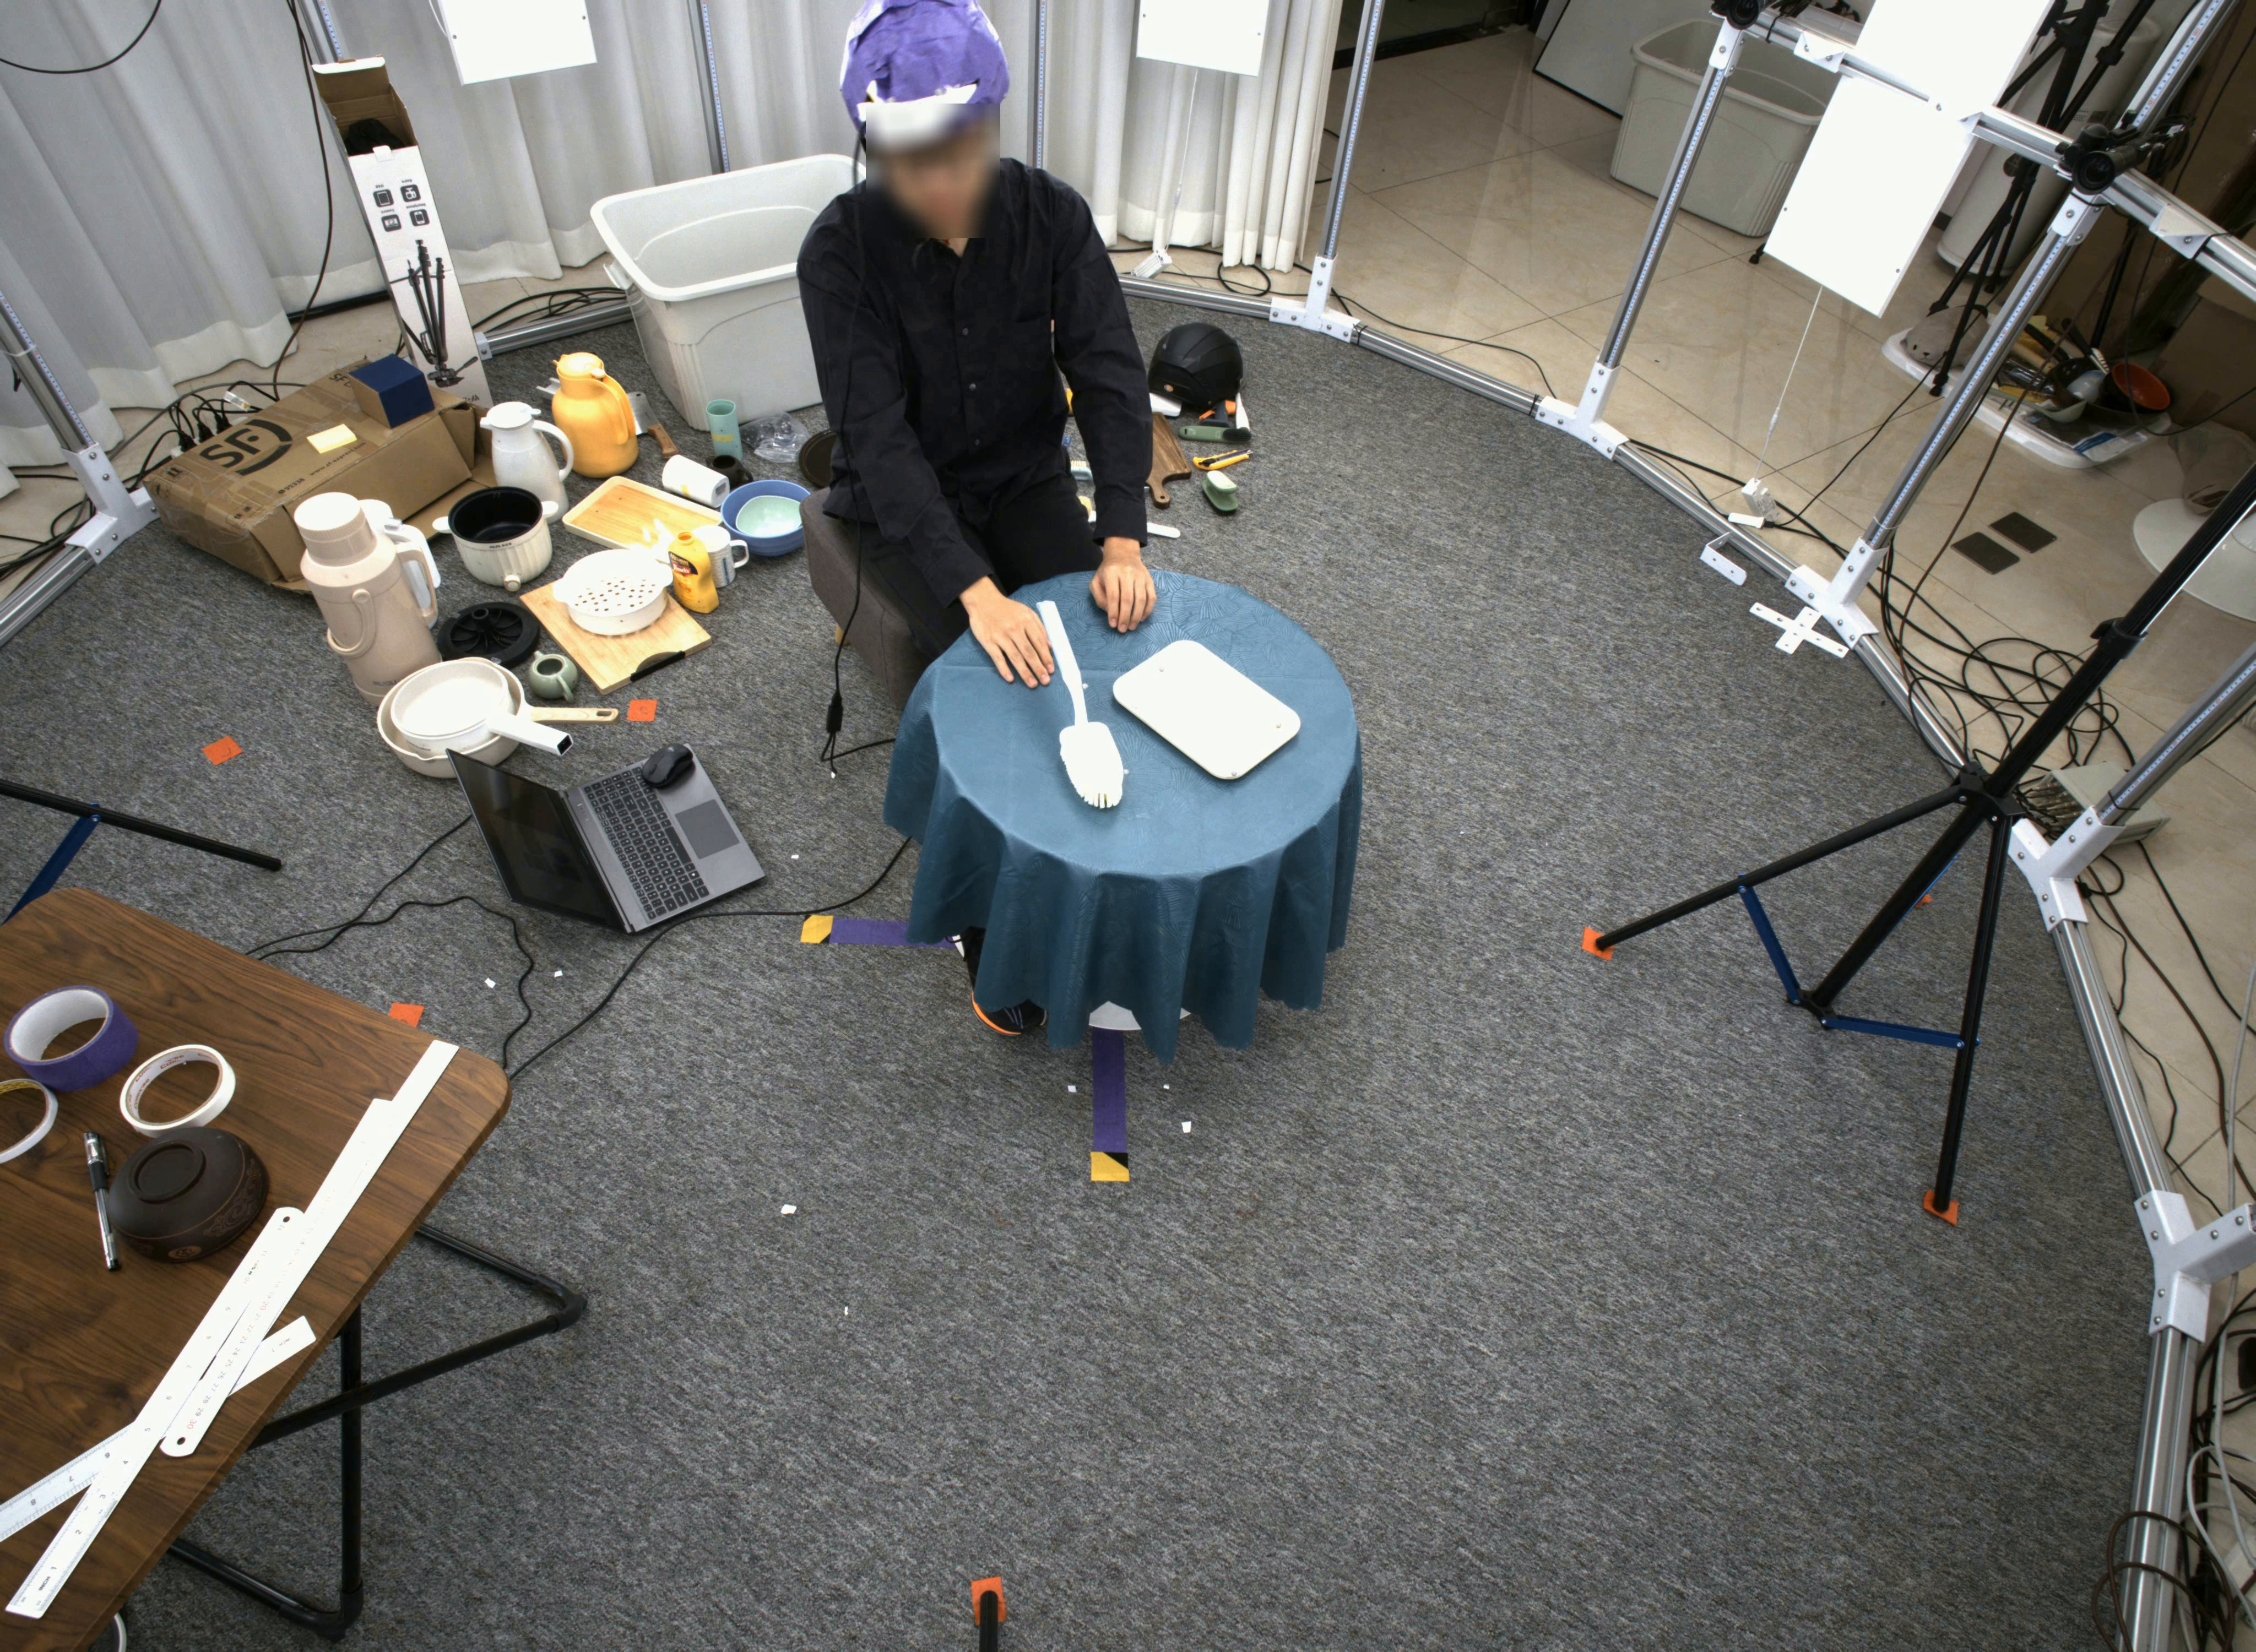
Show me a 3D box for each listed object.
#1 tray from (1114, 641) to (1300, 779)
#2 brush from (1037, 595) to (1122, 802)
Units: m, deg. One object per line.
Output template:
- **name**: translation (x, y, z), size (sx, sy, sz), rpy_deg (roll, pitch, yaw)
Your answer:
- **tray**: translation (0.110, -0.165, 1.809), size (0.173, 0.017, 0.243), rpy_deg (-35, 60, -29)
- **brush**: translation (-0.070, -0.171, 1.757), size (0.082, 0.083, 0.332), rpy_deg (11, 51, -46)
